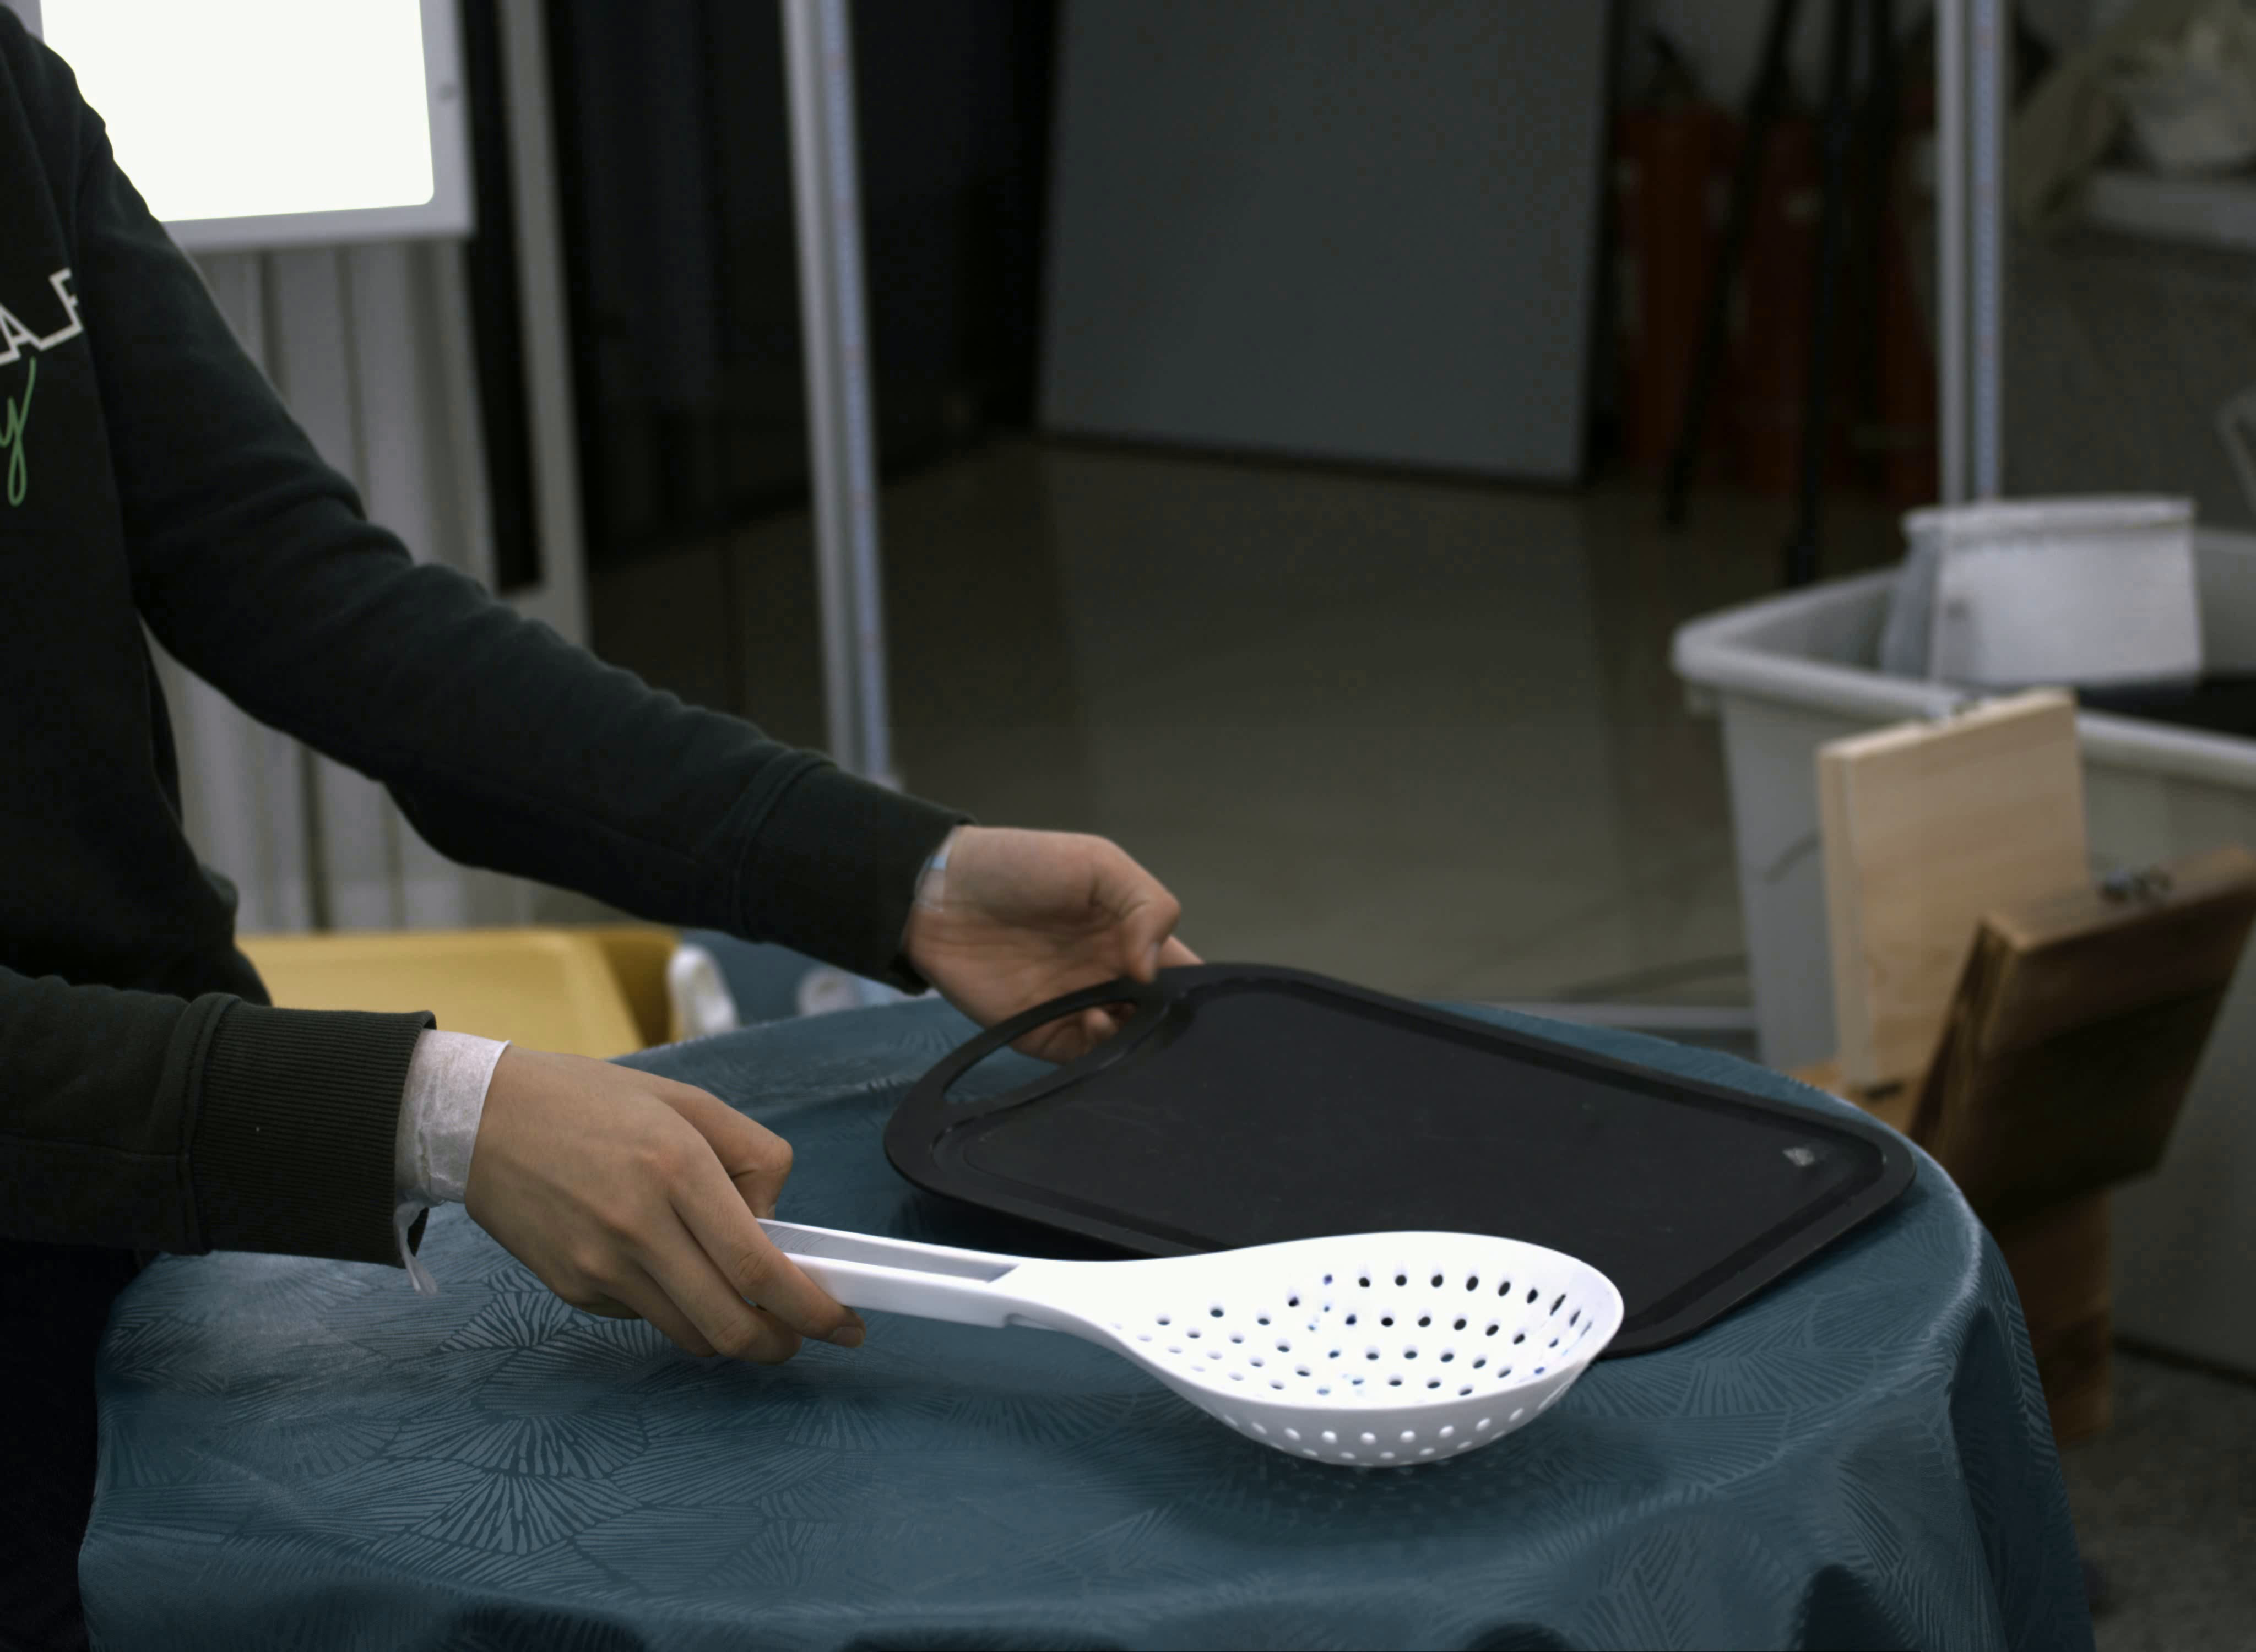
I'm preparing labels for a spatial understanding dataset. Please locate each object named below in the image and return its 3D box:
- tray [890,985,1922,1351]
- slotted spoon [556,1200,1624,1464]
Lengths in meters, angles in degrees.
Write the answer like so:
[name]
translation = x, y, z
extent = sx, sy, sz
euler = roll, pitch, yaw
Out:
[tray]
translation = 0.080, 0.104, 1.740
extent = 0.328, 0.010, 0.207
euler = 13, 24, 37
[slotted spoon]
translation = -0.020, 0.137, 1.574
extent = 0.351, 0.046, 0.134
euler = 10, 18, 29
